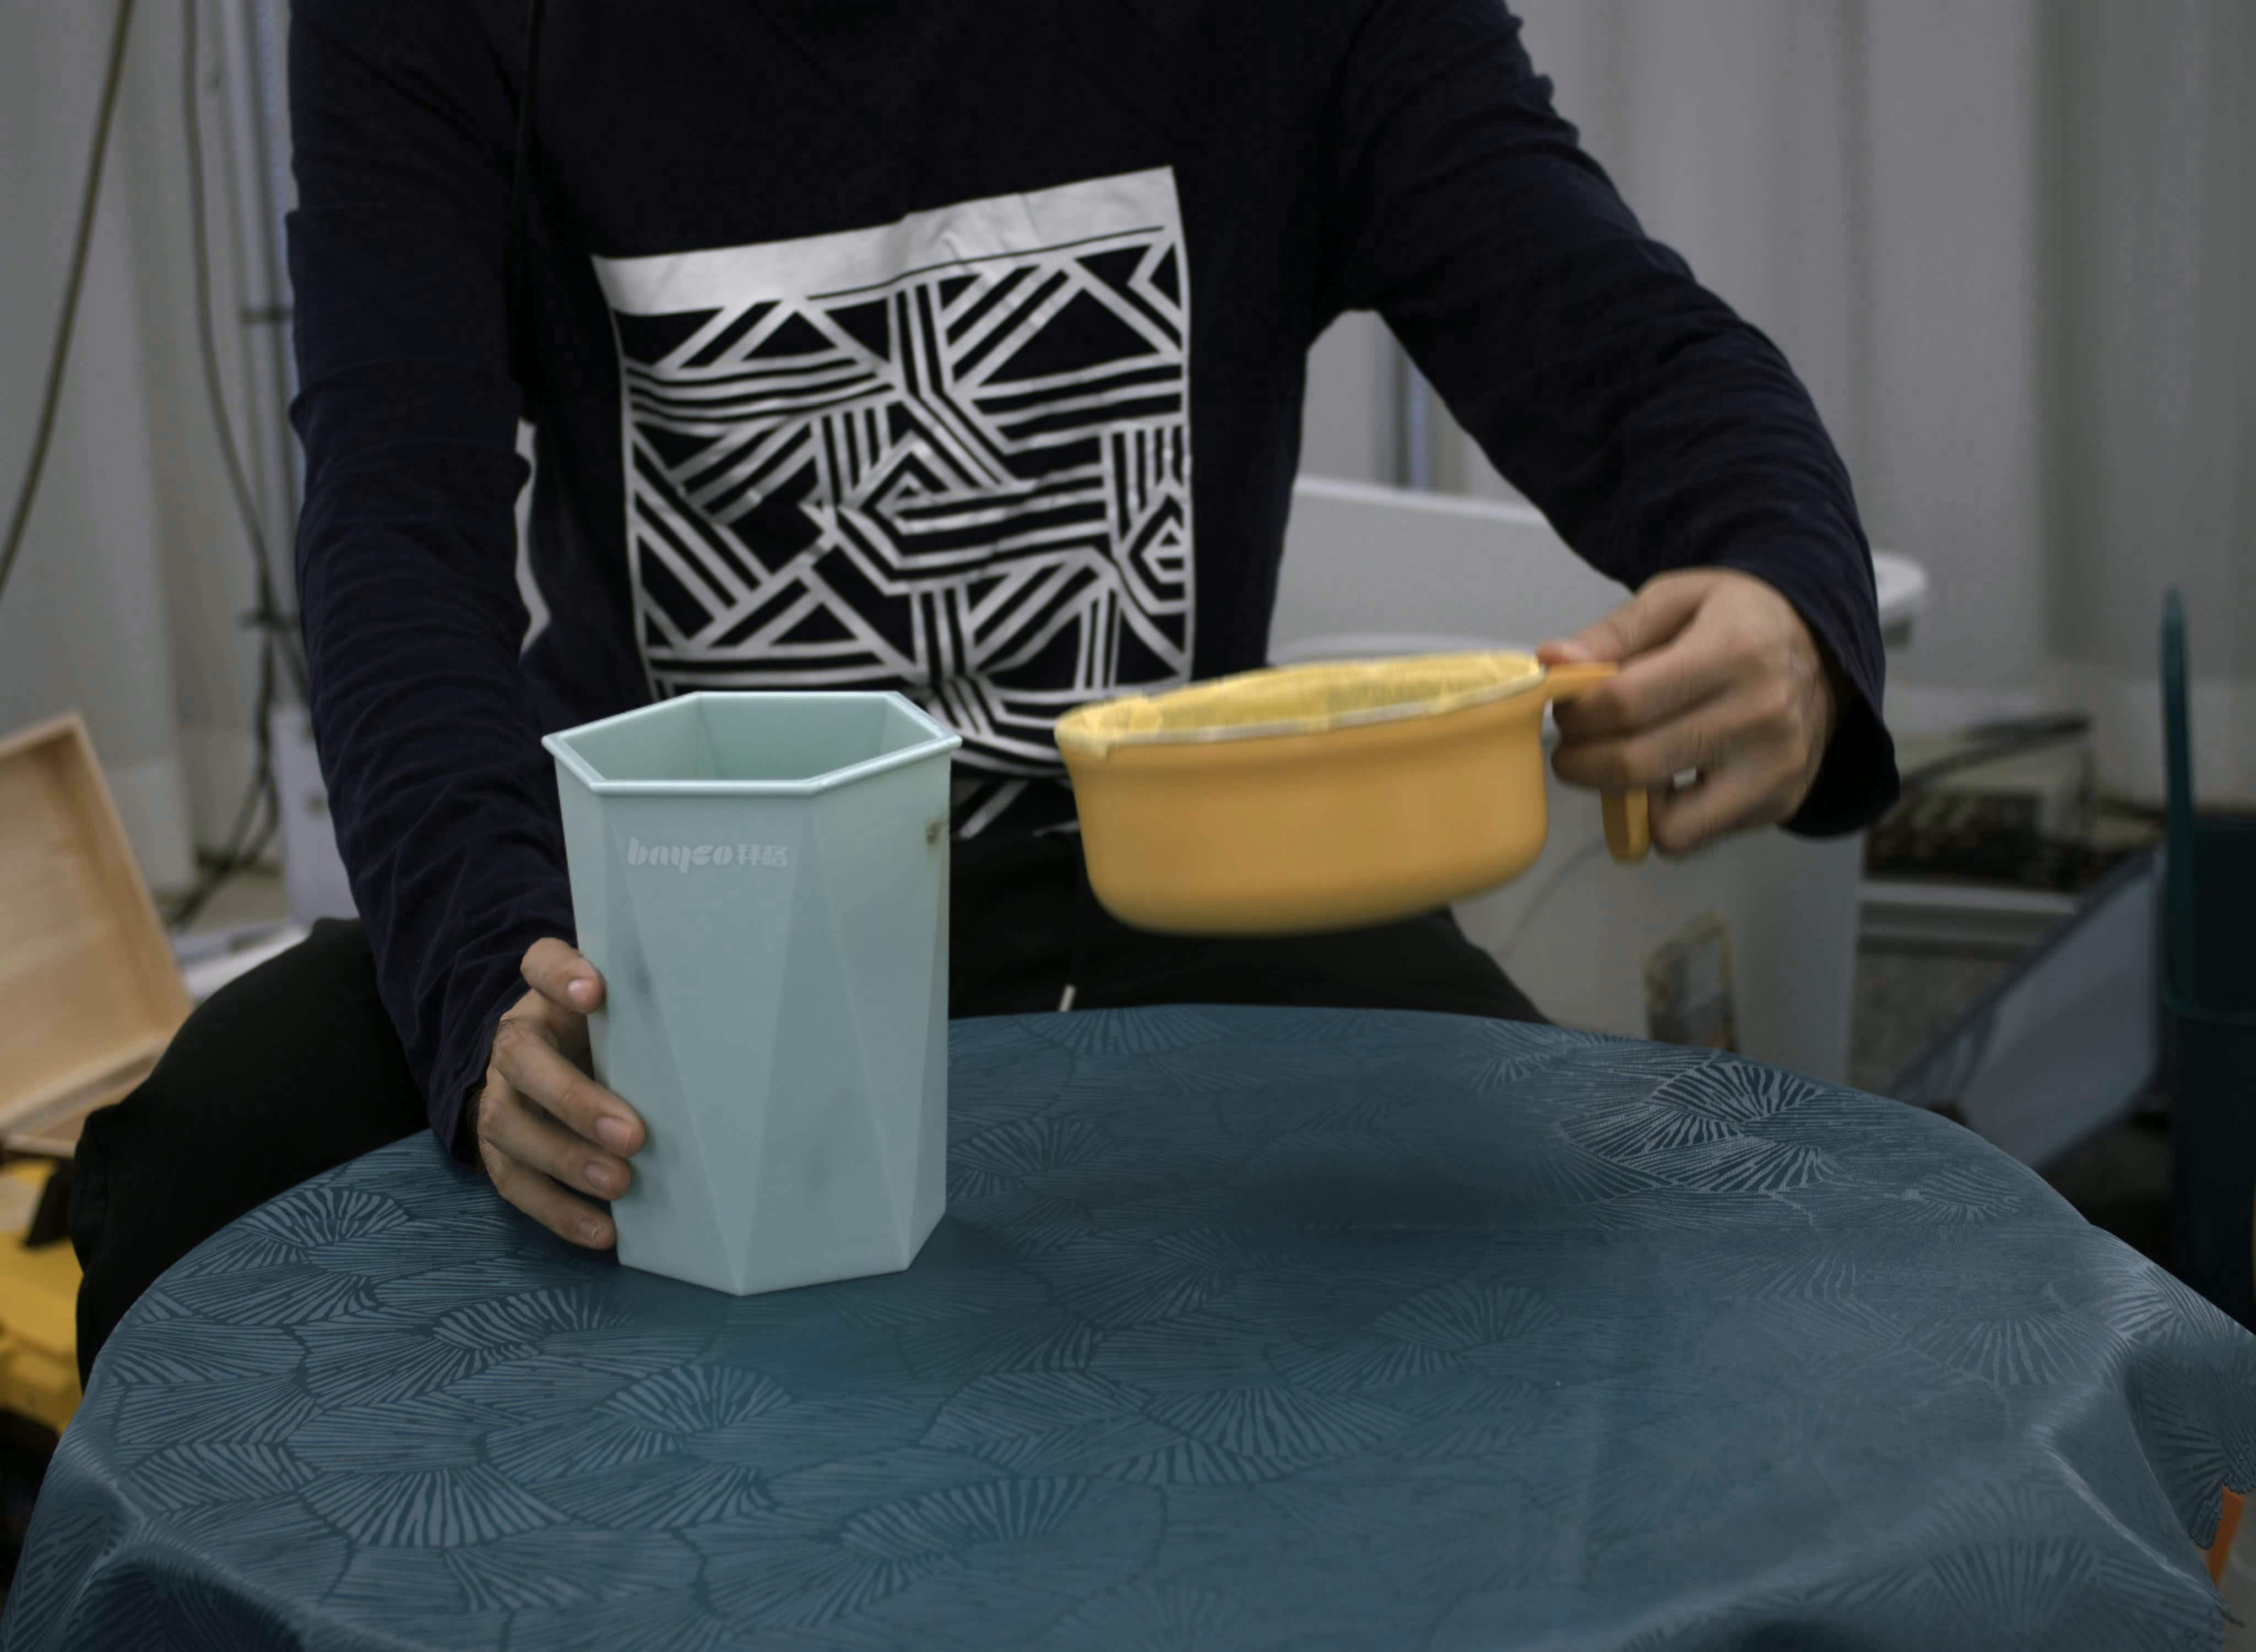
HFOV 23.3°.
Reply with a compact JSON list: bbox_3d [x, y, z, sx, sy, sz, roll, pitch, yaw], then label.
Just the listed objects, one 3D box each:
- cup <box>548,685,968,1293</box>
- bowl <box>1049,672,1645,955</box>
[{"bbox_3d":[-0.110,0.049,1.666,0.131,0.162,0.116,1,13,8],"label":"cup"},{"bbox_3d":[0.069,-0.005,1.678,0.178,0.074,0.153,-10,5,-15],"label":"bowl"}]
